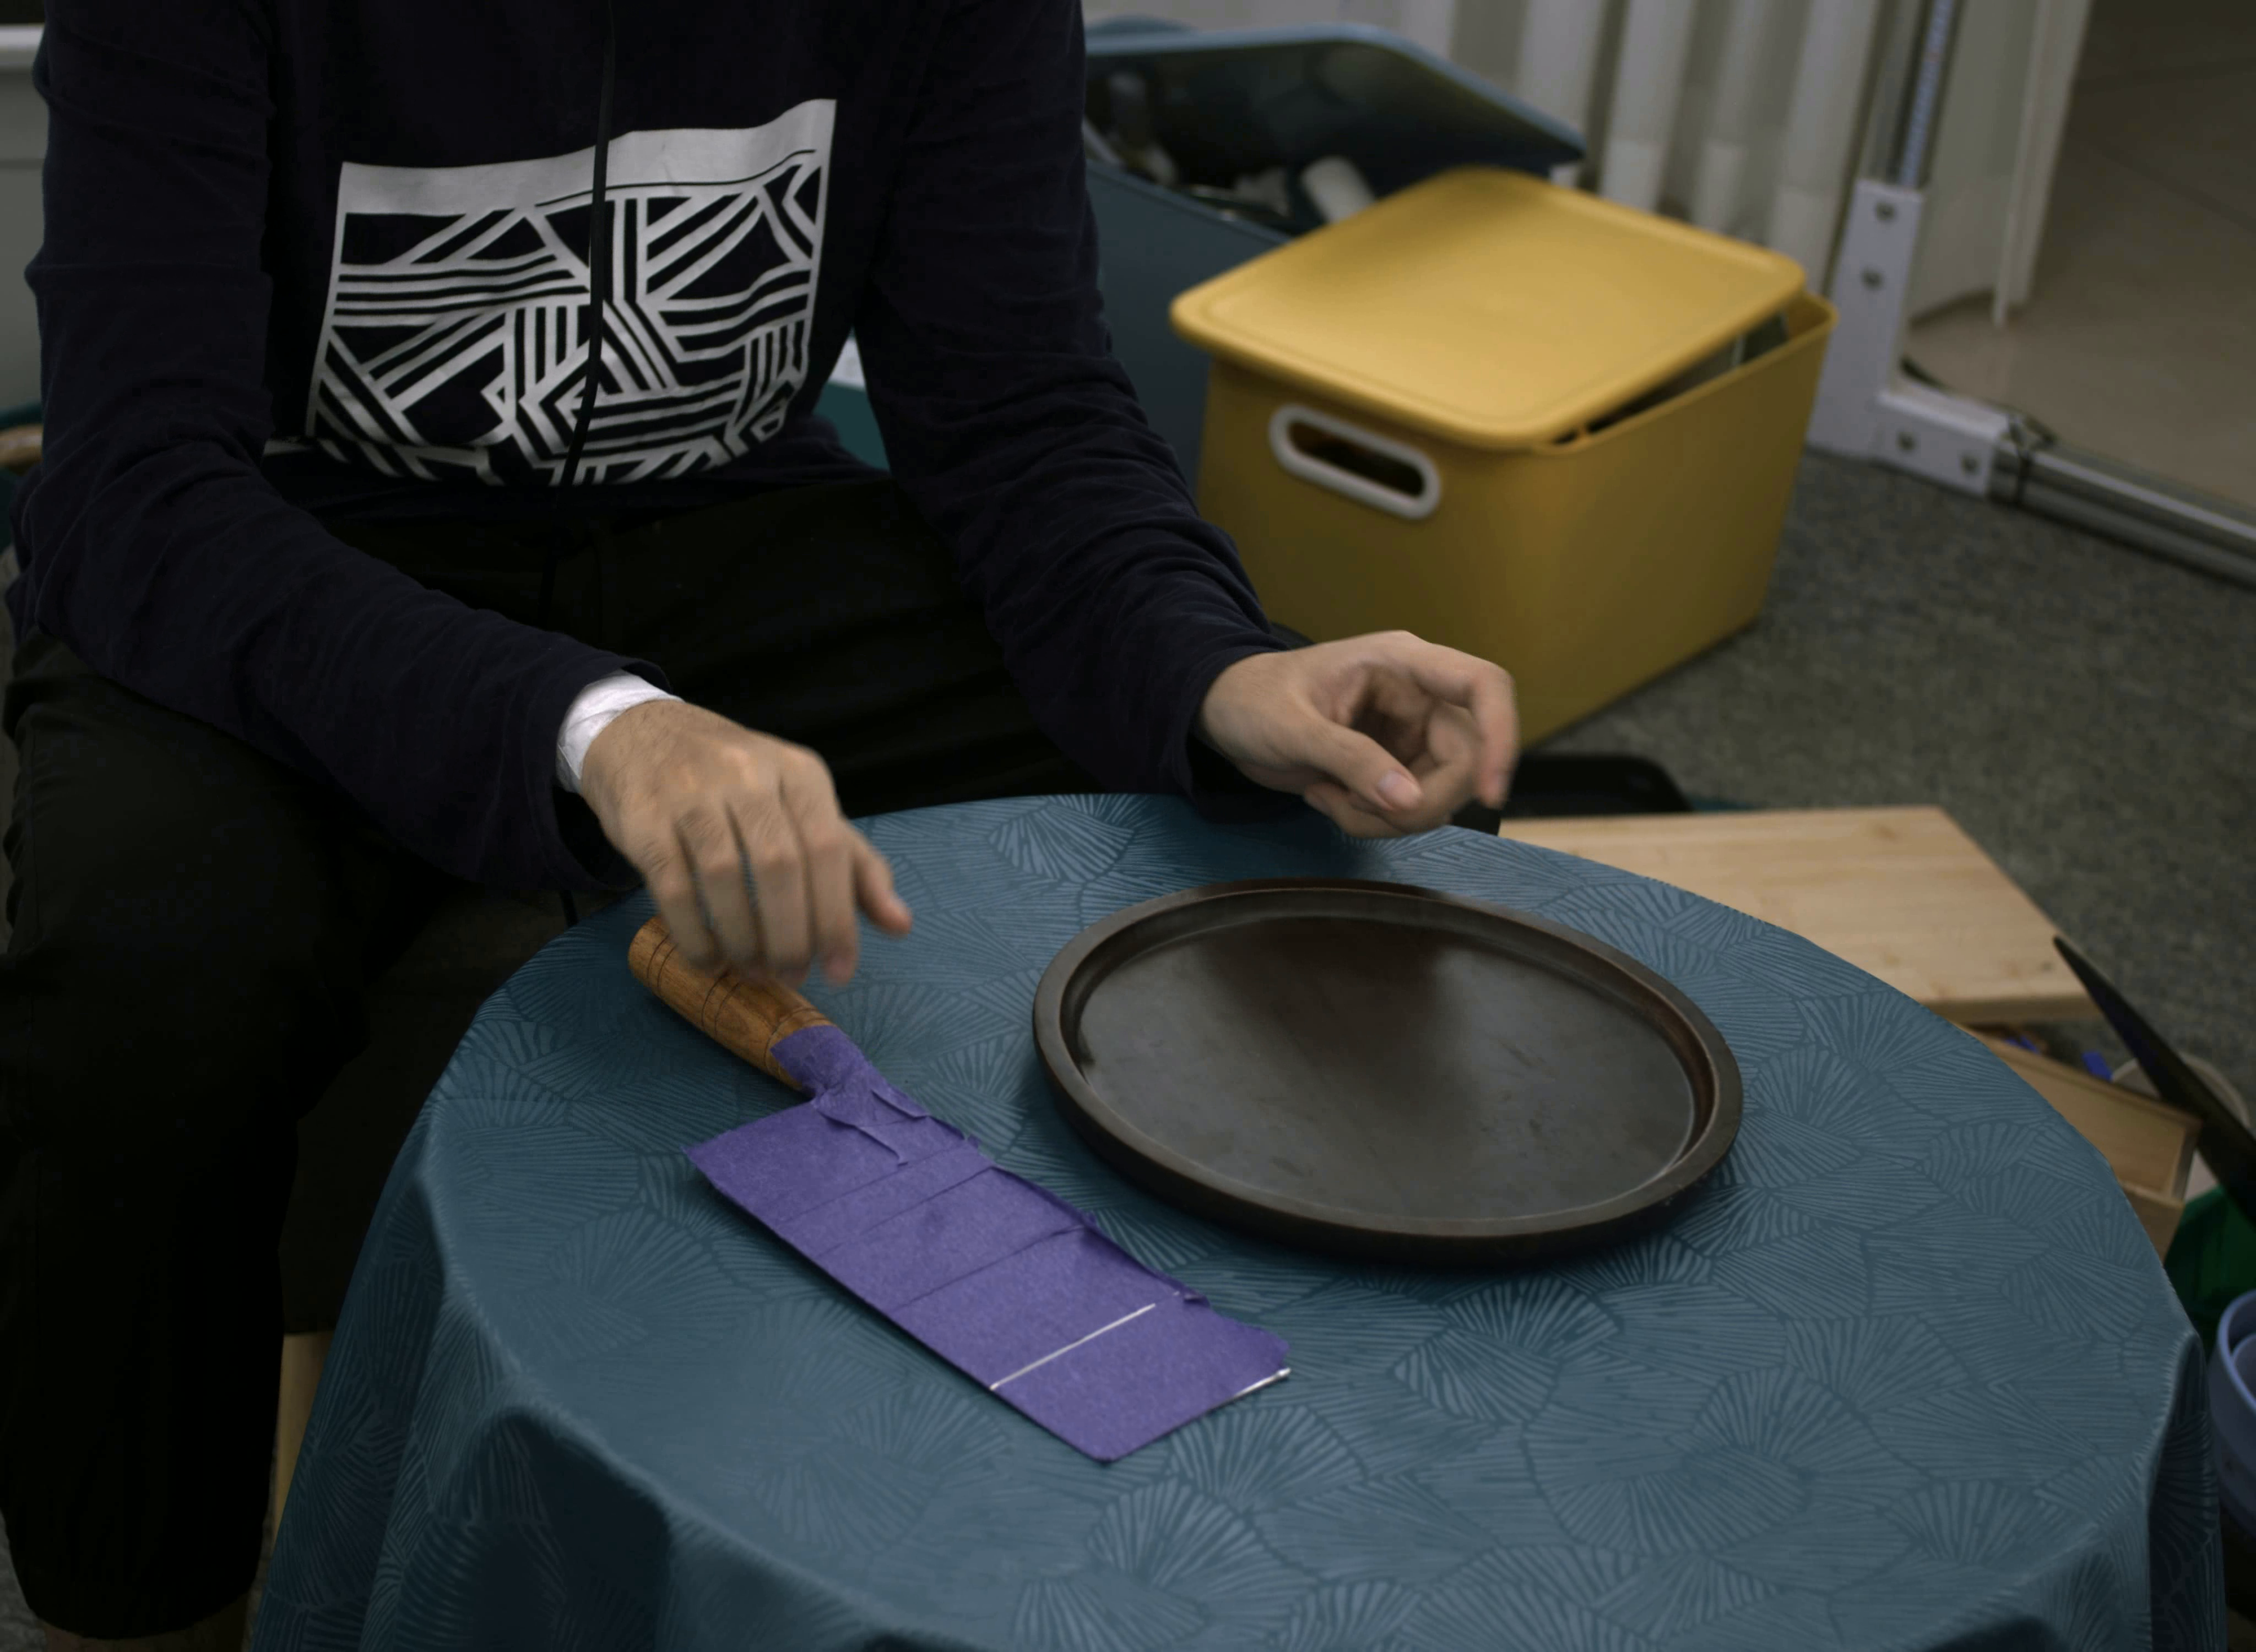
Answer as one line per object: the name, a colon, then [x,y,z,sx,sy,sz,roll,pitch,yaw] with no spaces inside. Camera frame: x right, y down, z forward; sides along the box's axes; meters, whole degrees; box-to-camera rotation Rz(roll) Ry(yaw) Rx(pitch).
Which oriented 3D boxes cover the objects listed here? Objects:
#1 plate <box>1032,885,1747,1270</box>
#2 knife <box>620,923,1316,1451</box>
plate: [0.091,0.086,1.874,0.254,0.029,0.256,6,27,-3]
knife: [-0.082,0.116,1.772,0.103,0.032,0.318,-19,37,-41]
